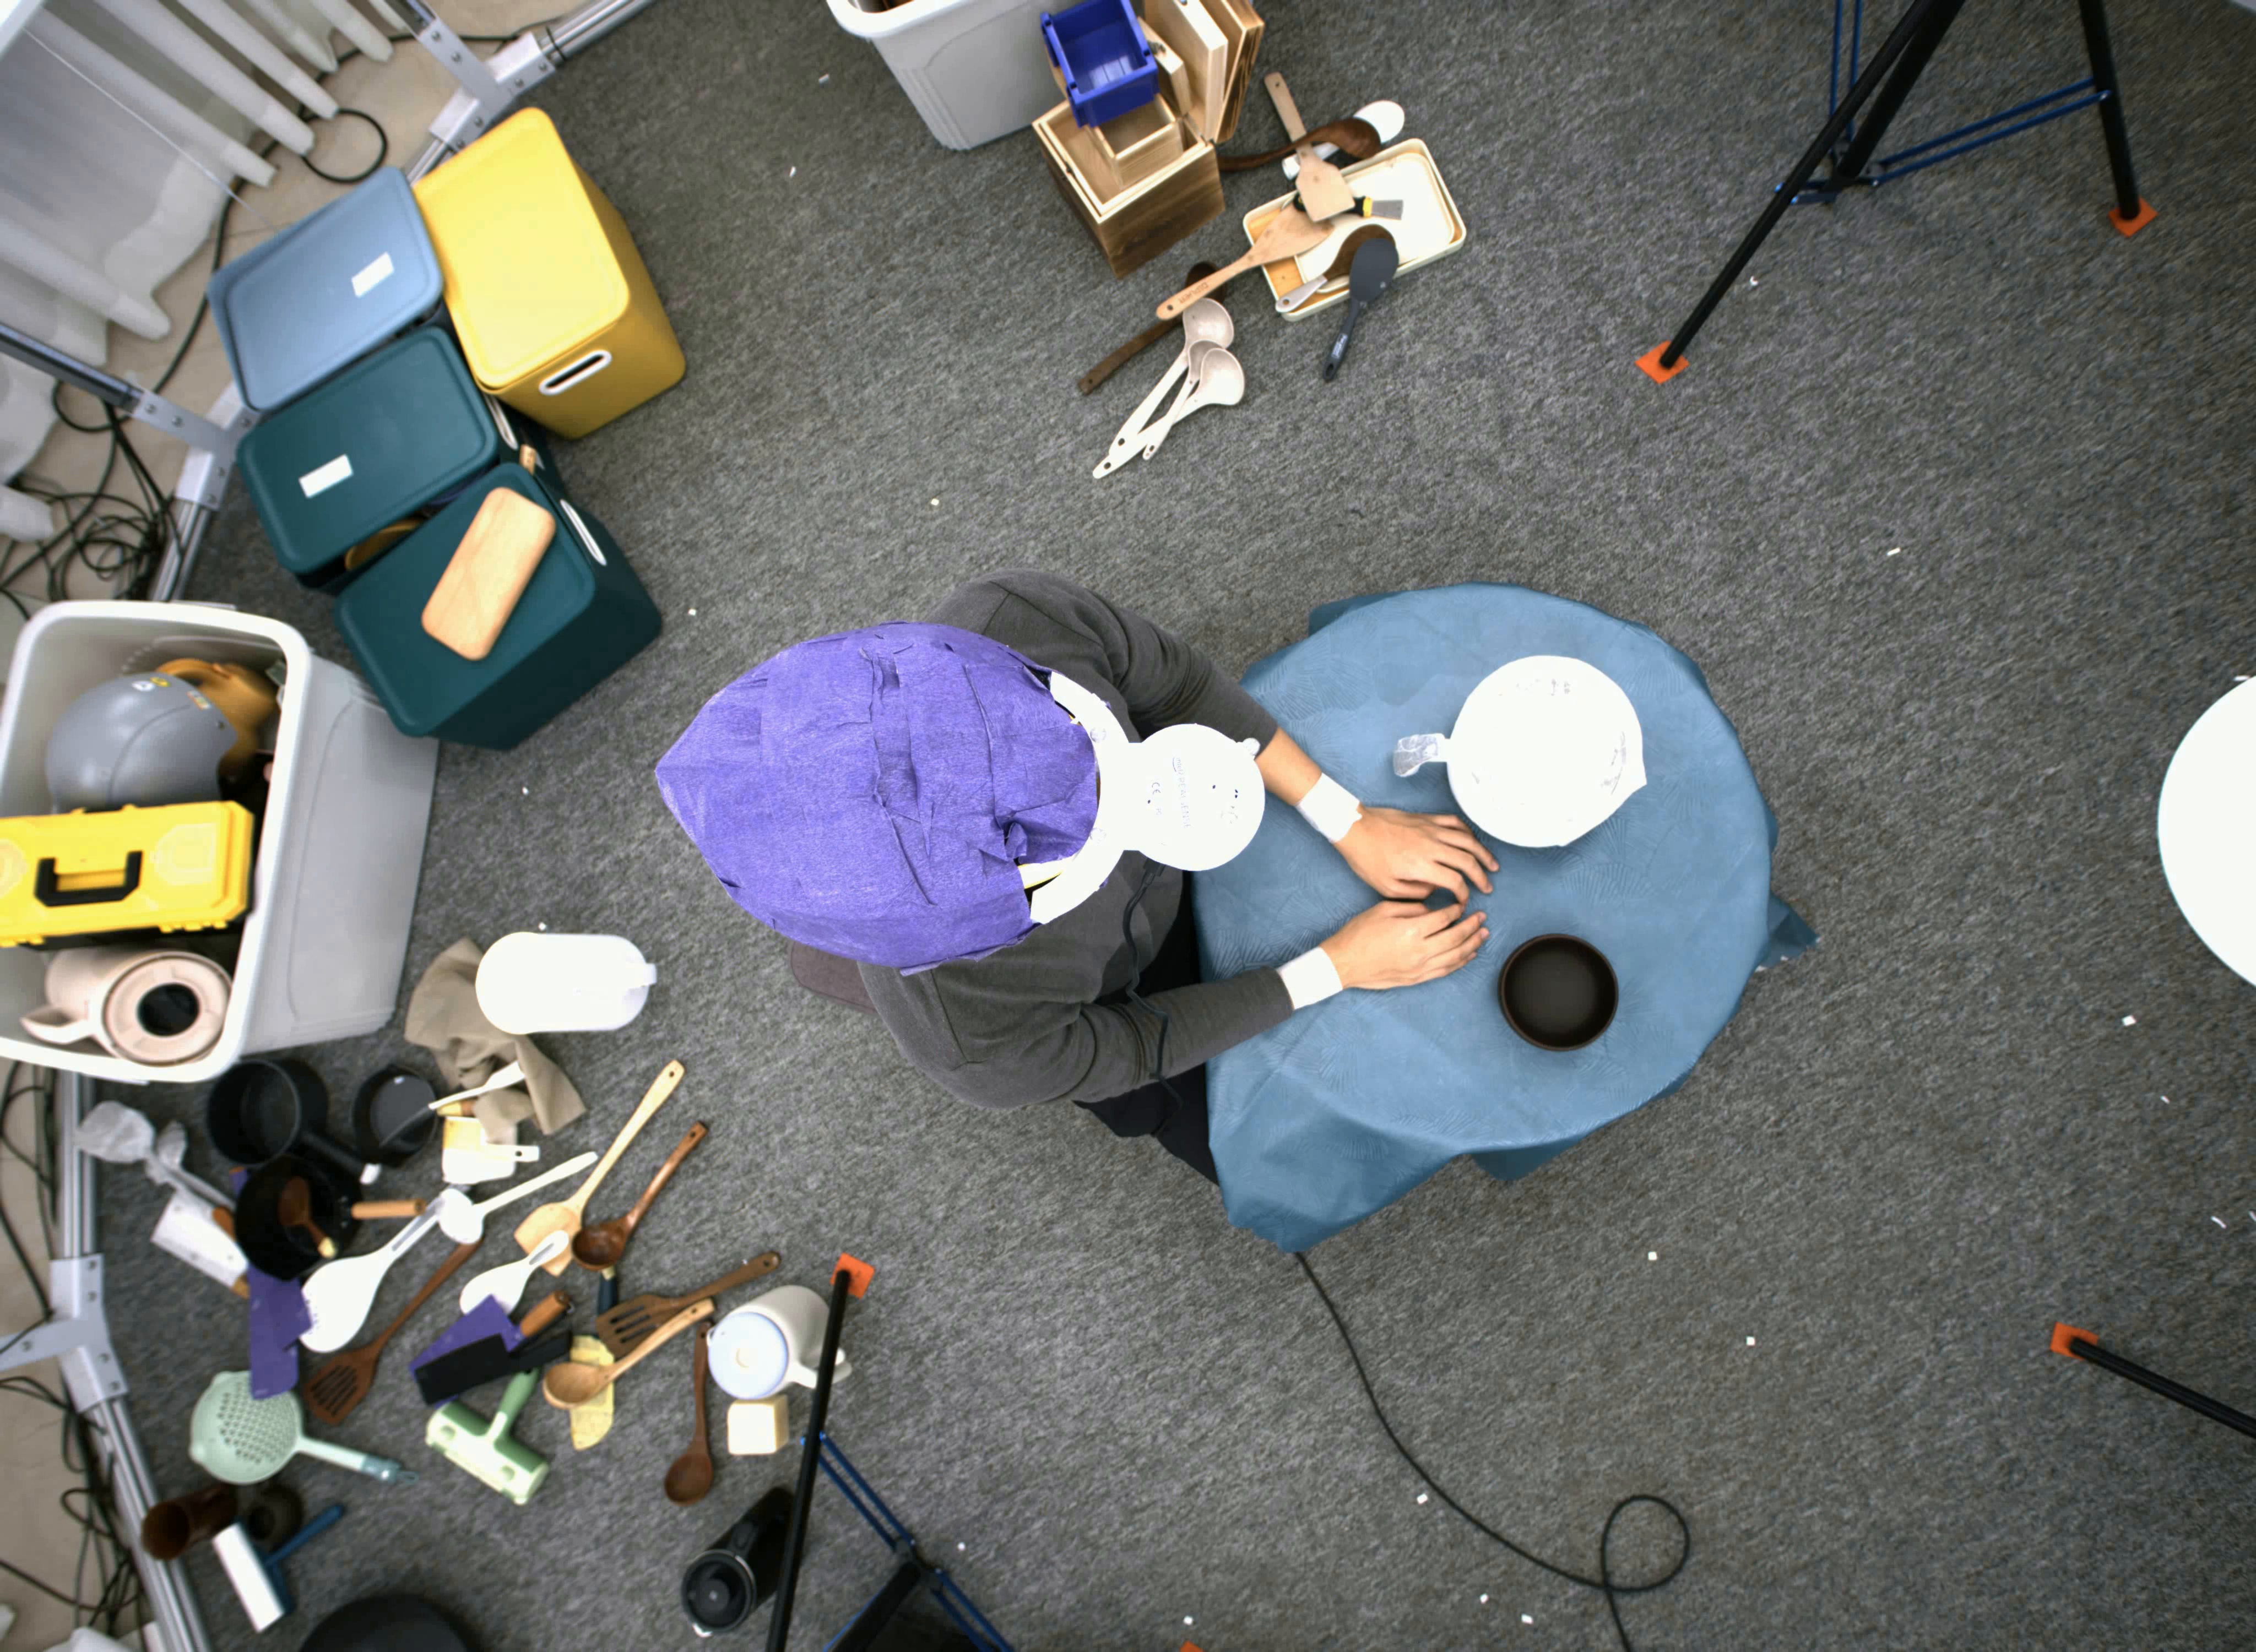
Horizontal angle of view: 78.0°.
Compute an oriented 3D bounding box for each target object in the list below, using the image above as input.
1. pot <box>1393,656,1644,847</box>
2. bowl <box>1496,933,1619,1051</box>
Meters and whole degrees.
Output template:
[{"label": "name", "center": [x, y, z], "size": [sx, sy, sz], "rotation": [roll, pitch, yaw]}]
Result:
[{"label": "pot", "center": [0.385, -0.072, 1.377], "size": [0.234, 0.137, 0.178], "rotation": [0, 85, 11]}, {"label": "bowl", "center": [0.431, 0.164, 1.388], "size": [0.118, 0.070, 0.117], "rotation": [-1, 86, 13]}]
